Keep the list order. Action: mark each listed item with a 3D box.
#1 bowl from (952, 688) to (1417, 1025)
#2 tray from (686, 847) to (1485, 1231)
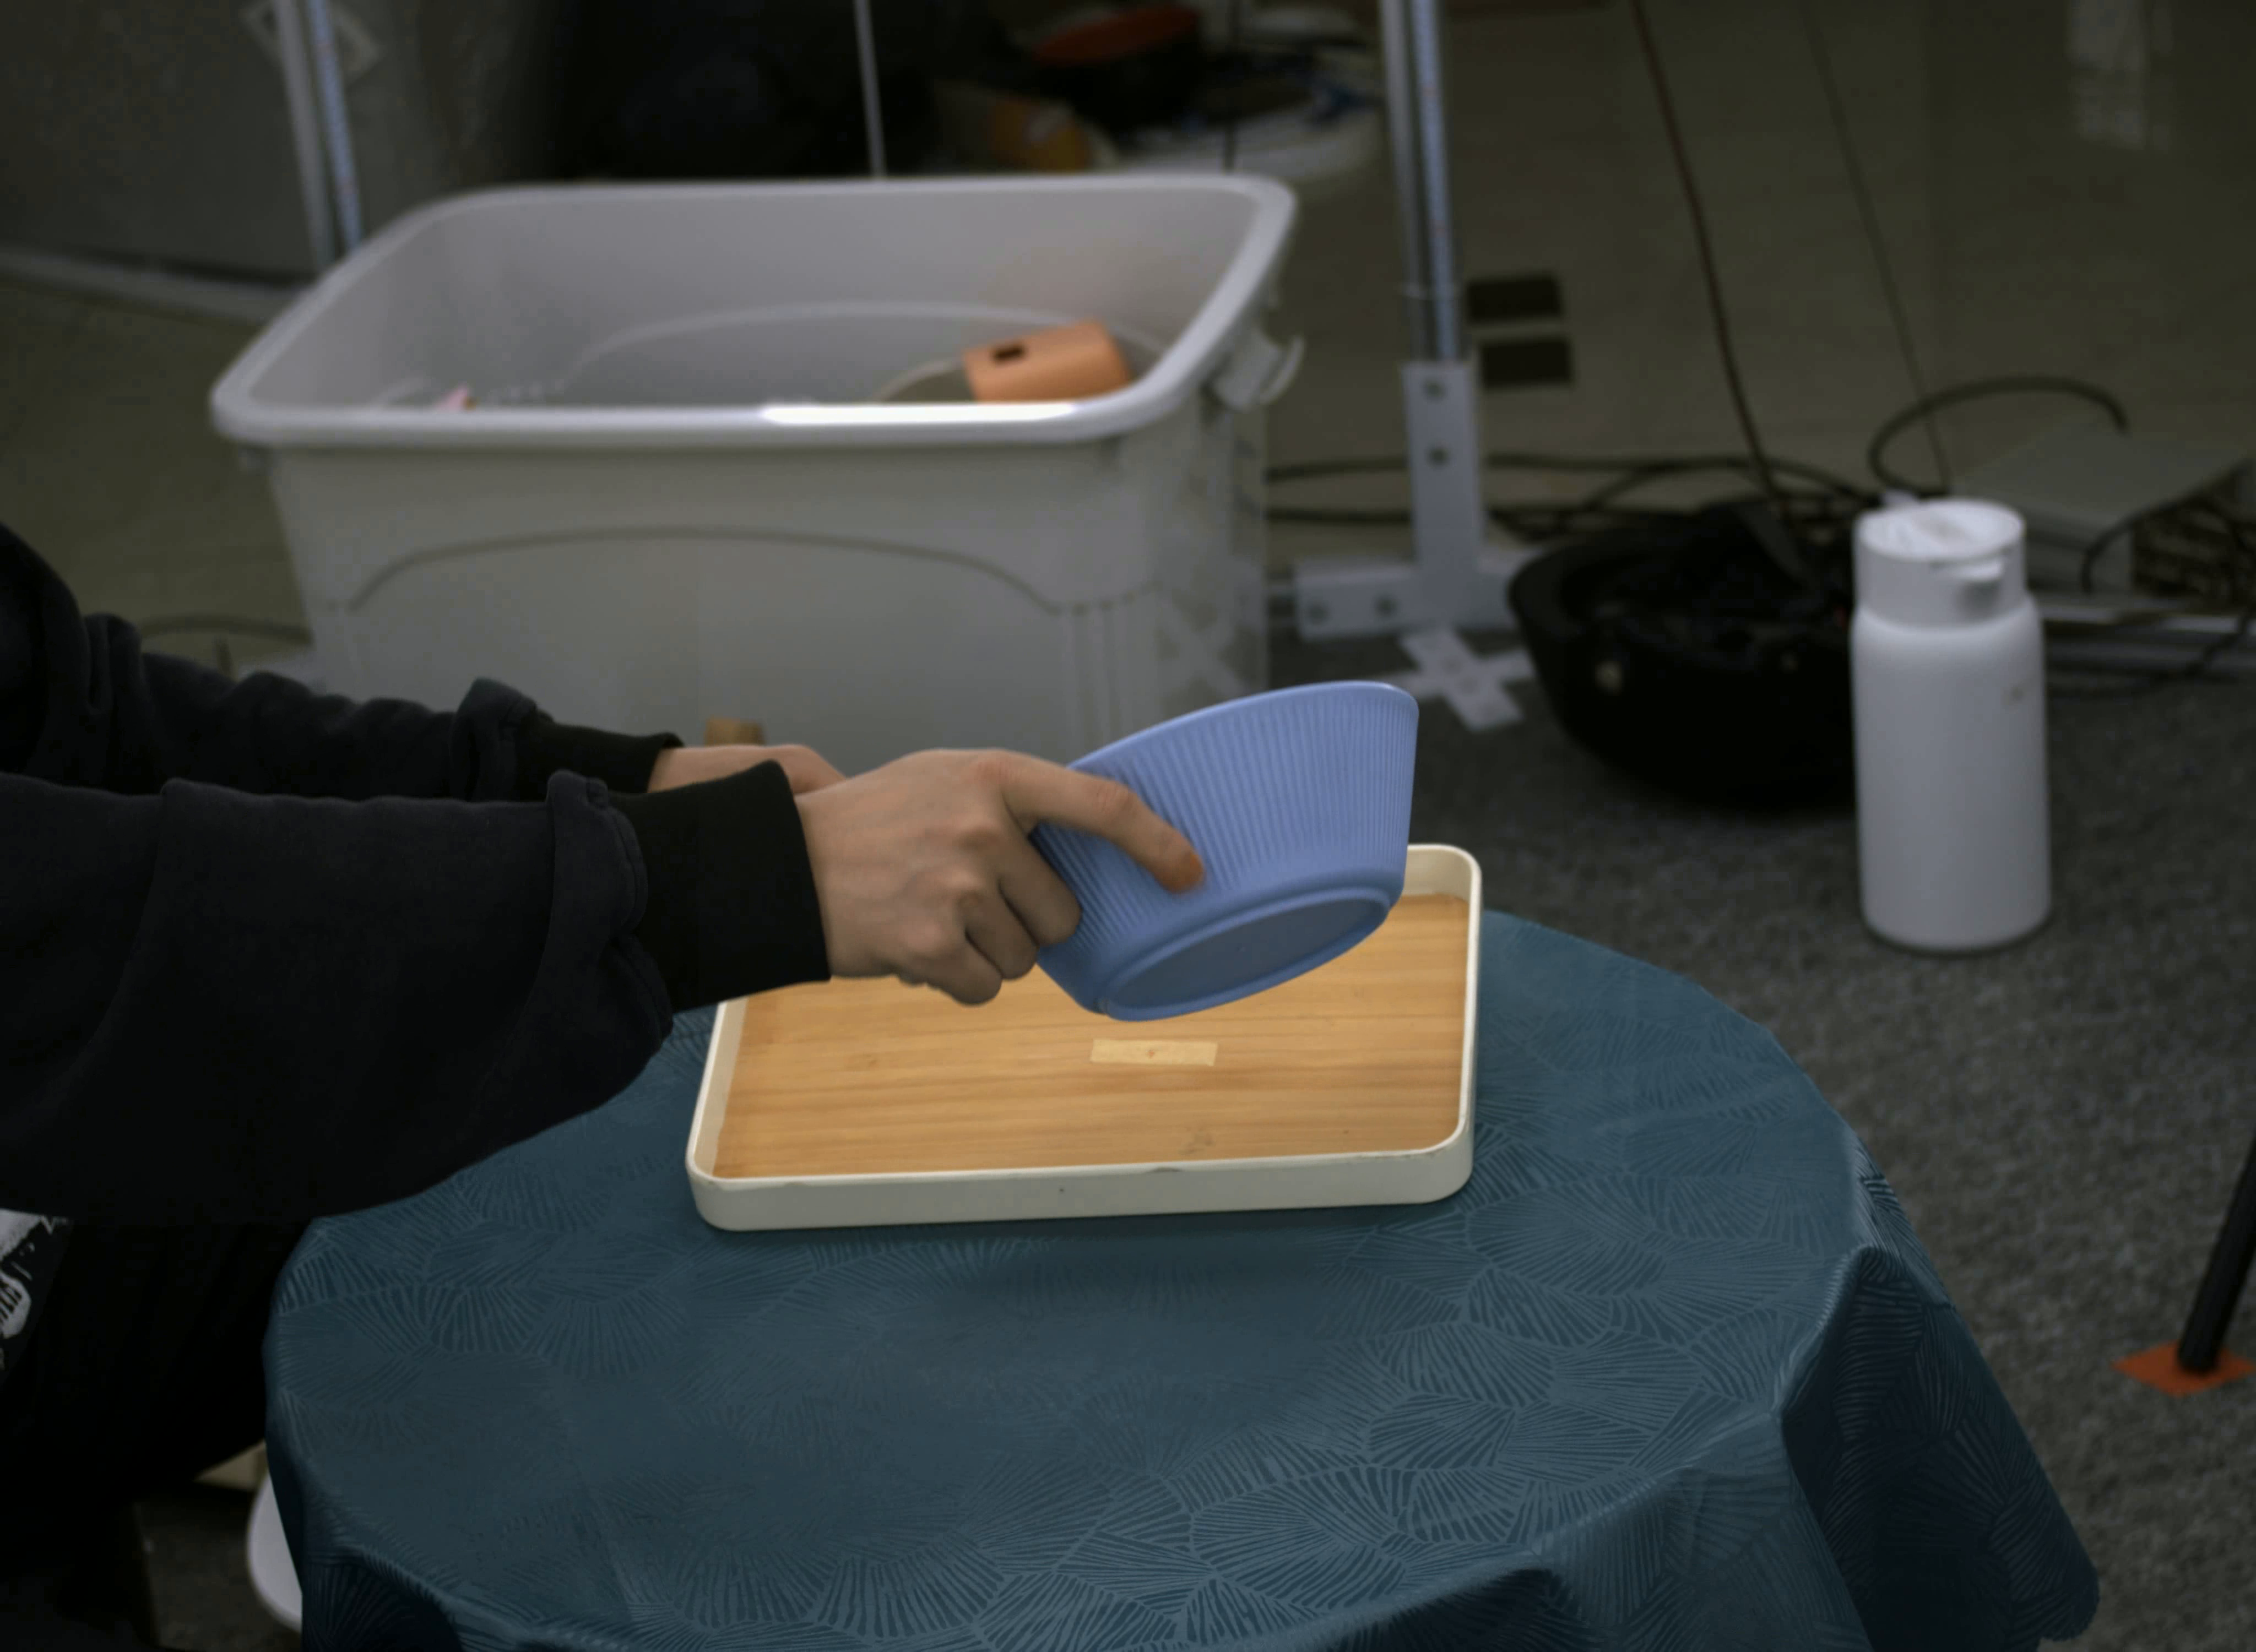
[{"bbox_3d":[0.030,0.018,2.005,0.175,0.070,0.178,-18,-15,-5],"label":"bowl"},{"bbox_3d":[-0.013,0.082,2.202,0.300,0.028,0.188,-2,38,8],"label":"tray"}]
